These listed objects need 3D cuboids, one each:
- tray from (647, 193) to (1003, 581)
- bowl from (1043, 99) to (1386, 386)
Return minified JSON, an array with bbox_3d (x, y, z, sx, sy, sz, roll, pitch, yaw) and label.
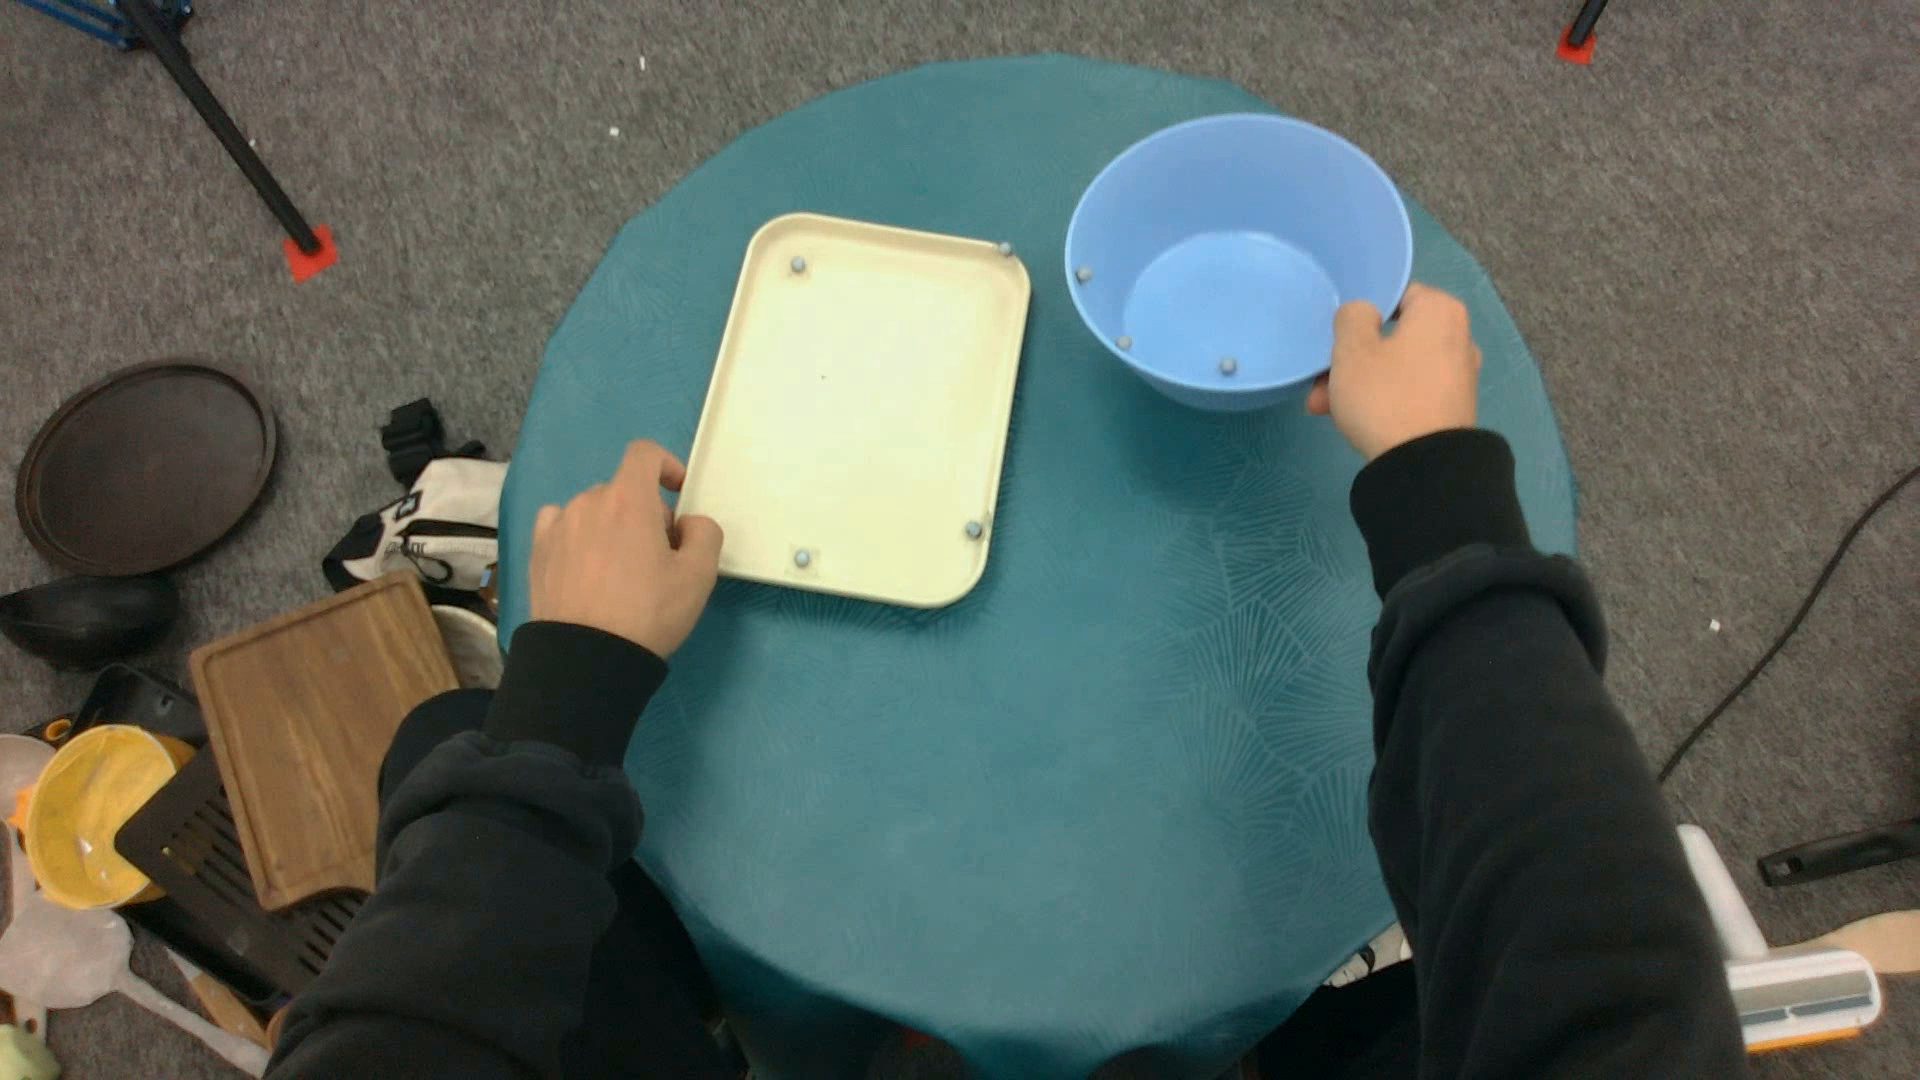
[{"bbox_3d":[-0.071,-0.091,0.776,0.171,0.017,0.240,9,64,1],"label":"tray"},{"bbox_3d":[0.135,-0.150,0.744,0.176,0.070,0.177,-4,62,7],"label":"bowl"}]
